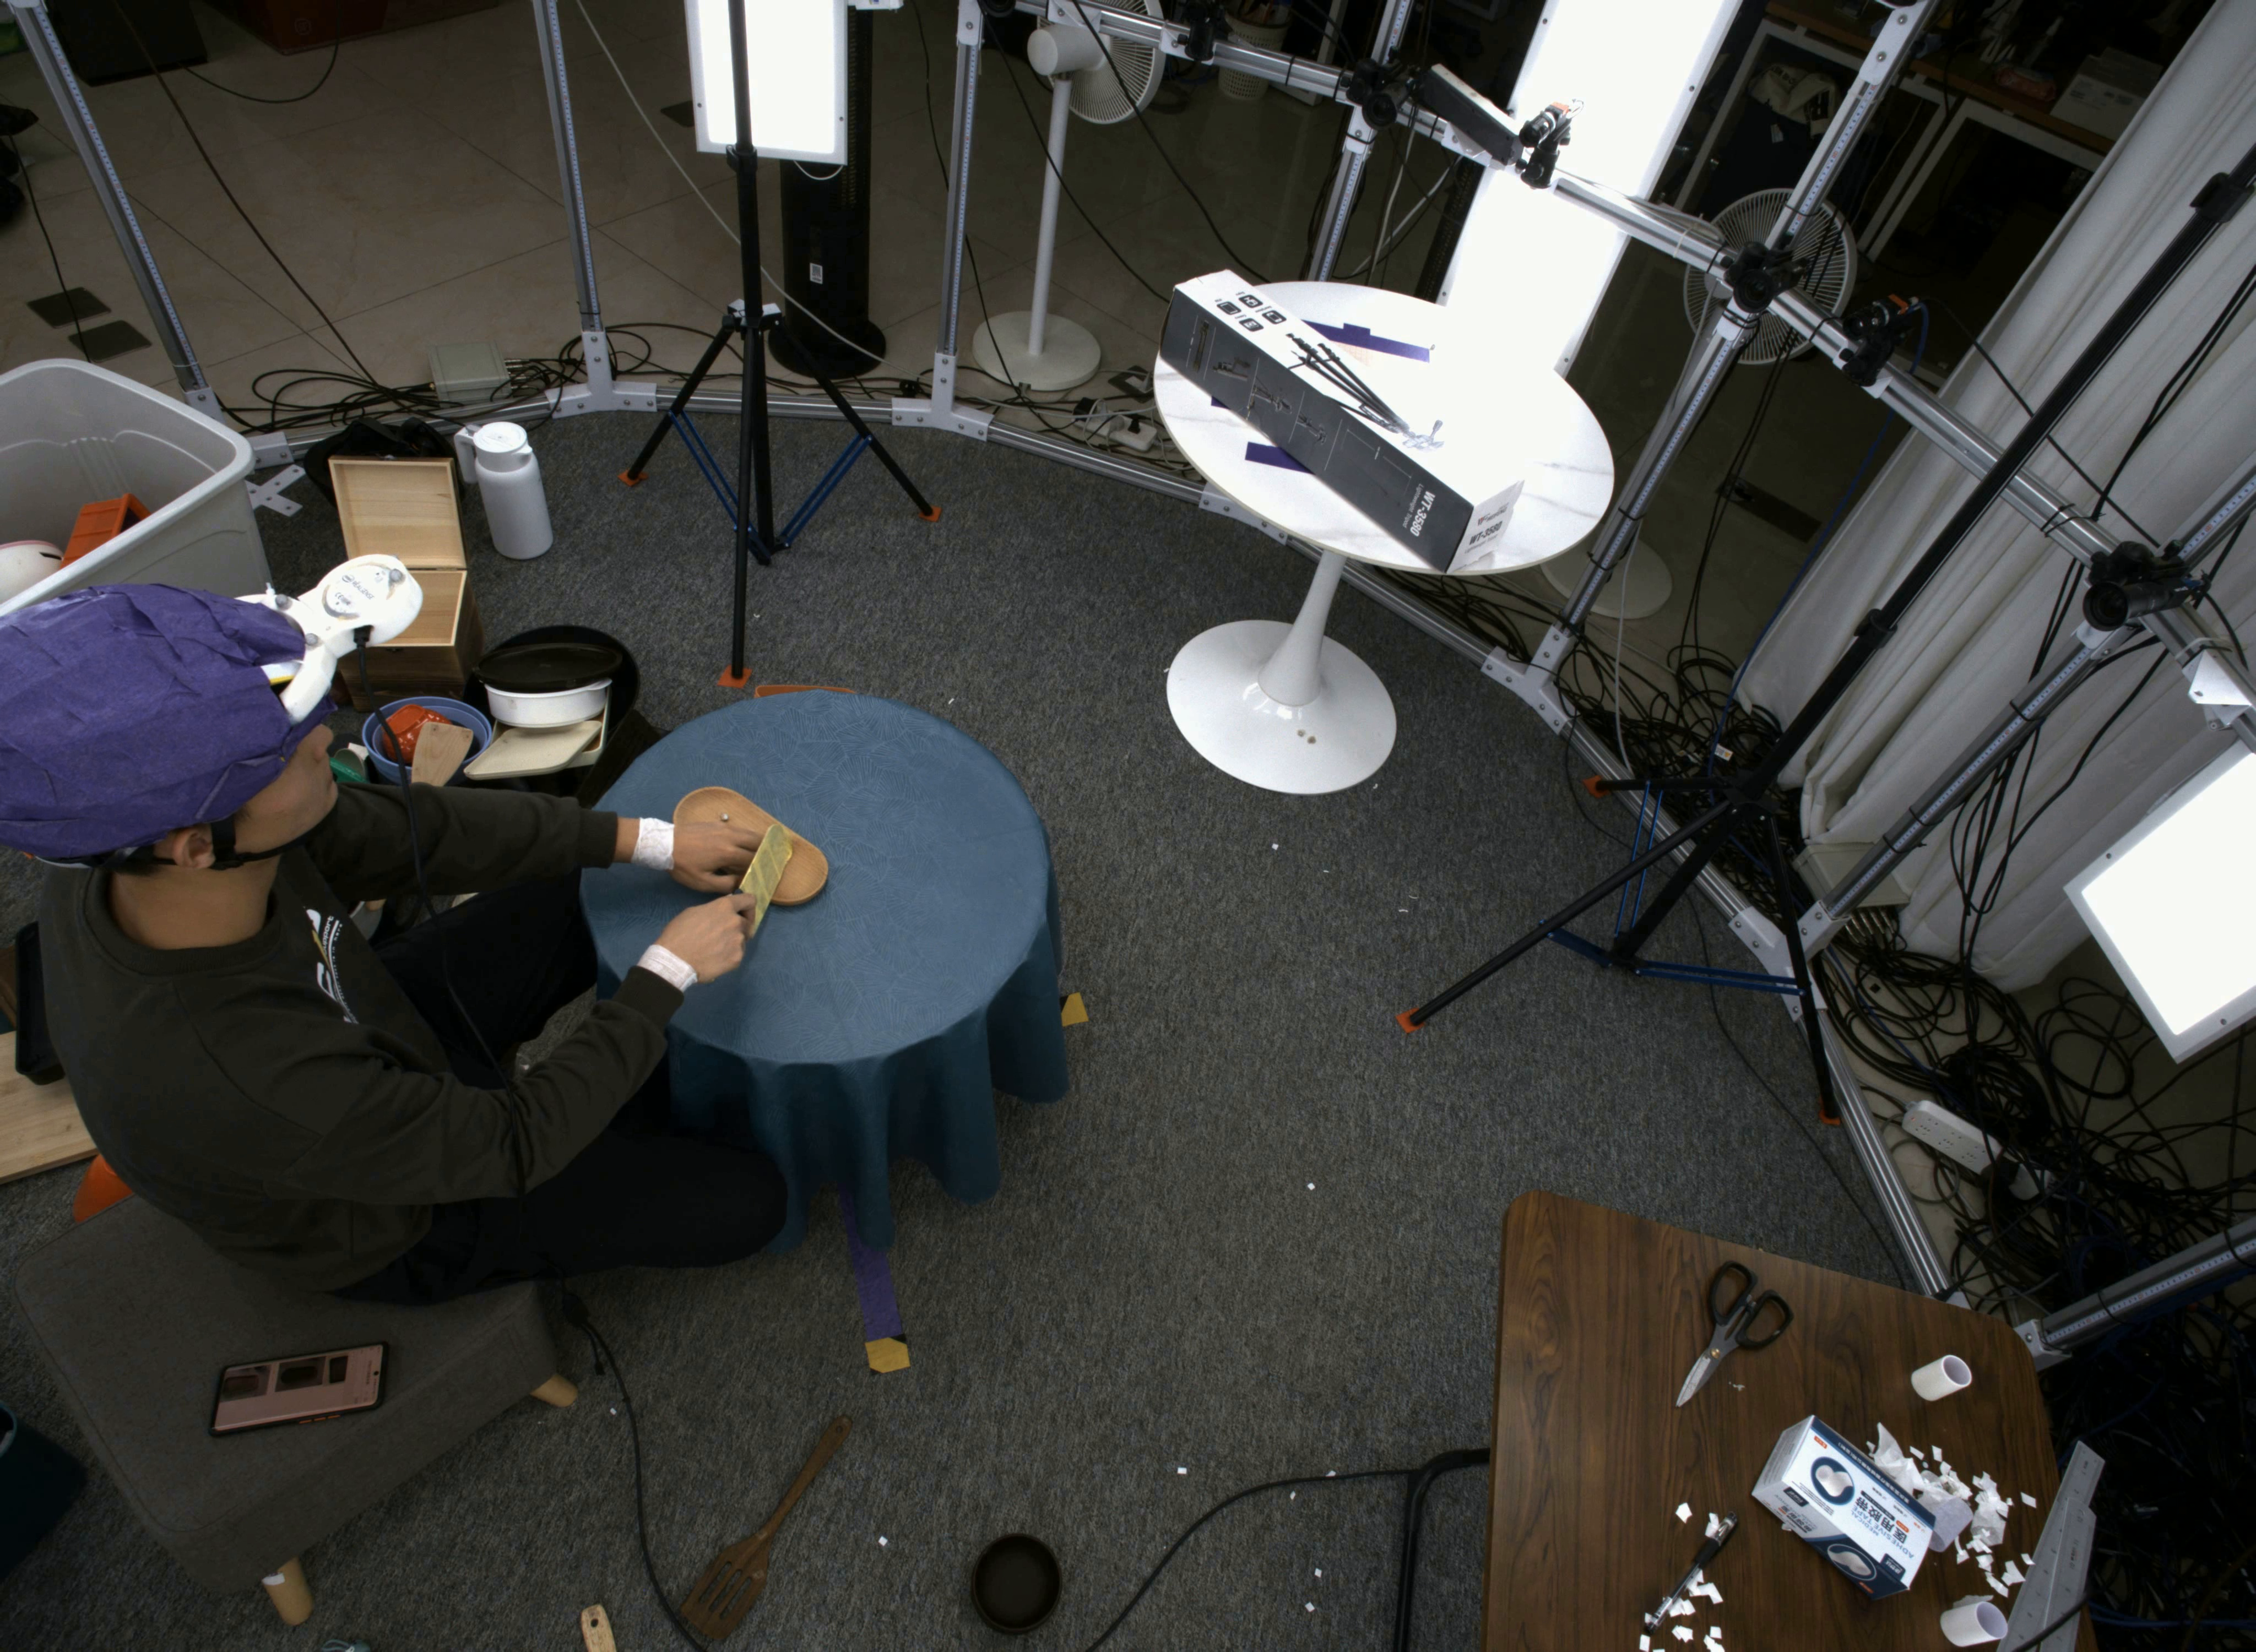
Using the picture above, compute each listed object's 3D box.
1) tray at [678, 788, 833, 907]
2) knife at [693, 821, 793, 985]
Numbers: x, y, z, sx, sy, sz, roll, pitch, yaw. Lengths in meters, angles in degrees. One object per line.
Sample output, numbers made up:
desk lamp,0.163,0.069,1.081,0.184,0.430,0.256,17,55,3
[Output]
tray,-0.487,0.026,1.689,0.227,0.021,0.101,33,54,9
knife,-0.462,0.093,1.580,0.026,0.084,0.285,1,39,12
